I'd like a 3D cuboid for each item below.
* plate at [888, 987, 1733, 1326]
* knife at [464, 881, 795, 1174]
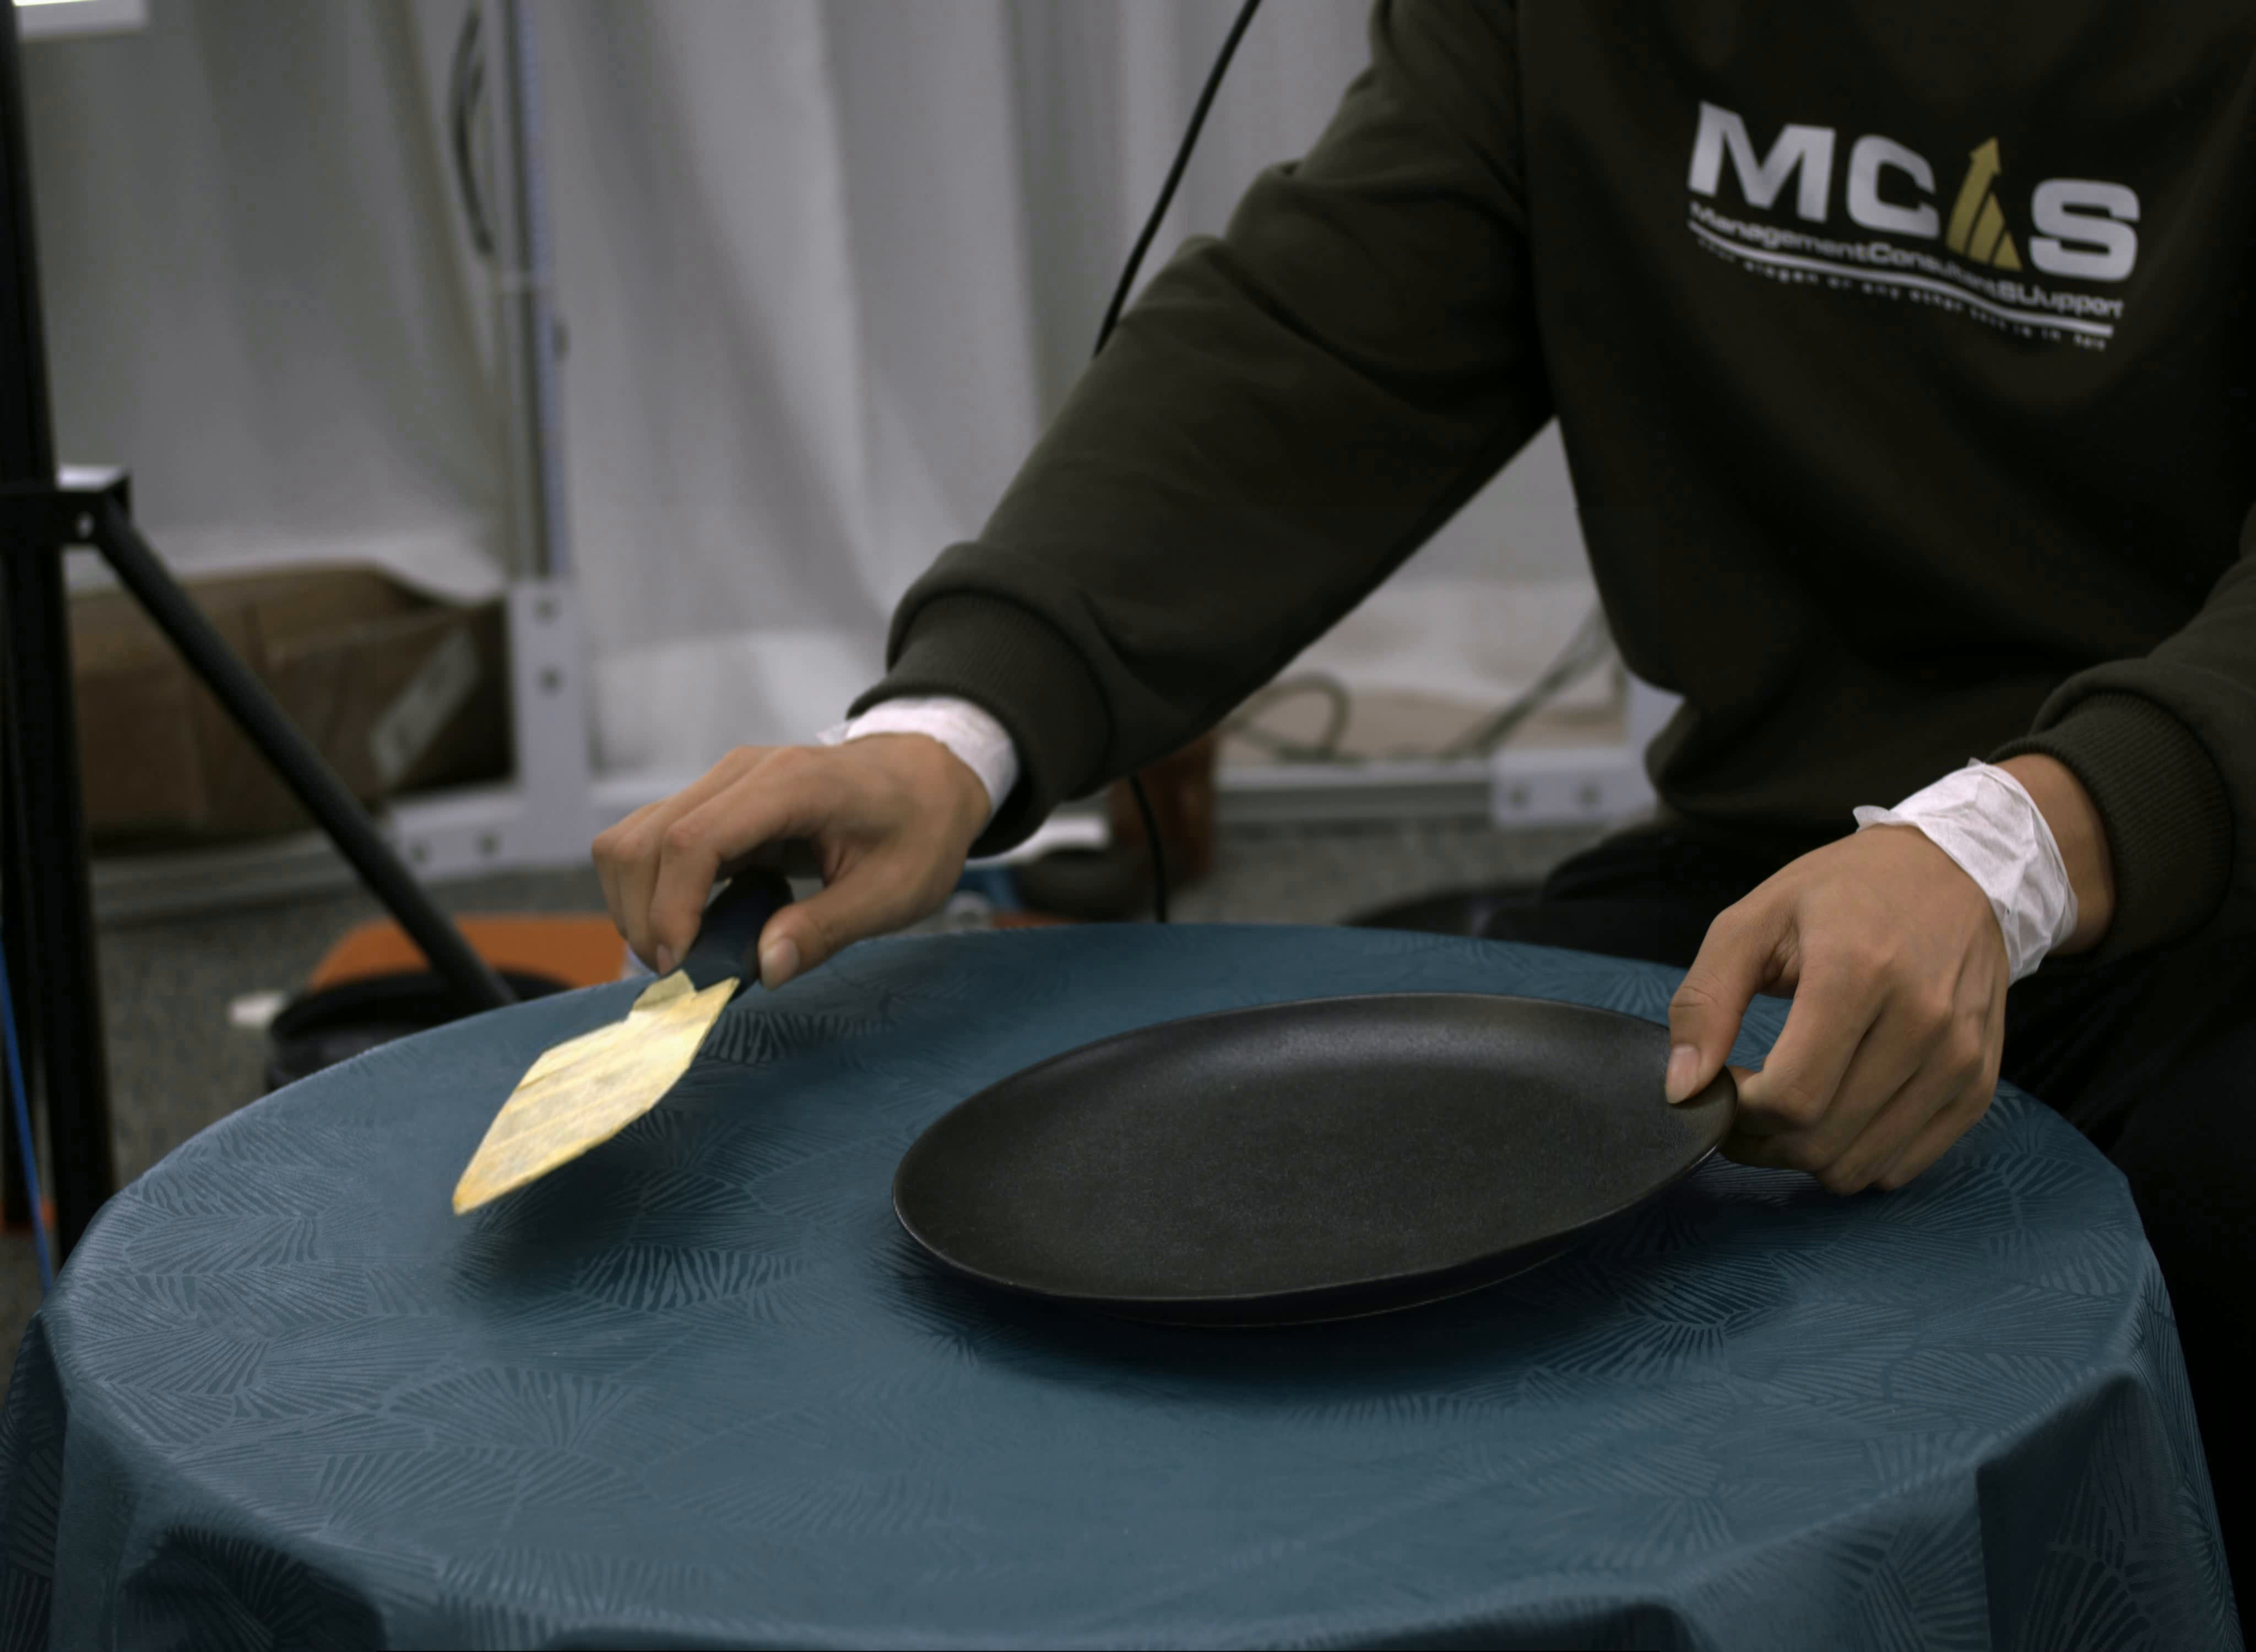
[{"bbox_3d":[0.053,0.097,1.516,0.243,0.023,0.246,-8,17,1],"label":"plate"},{"bbox_3d":[-0.149,0.062,1.634,0.081,0.027,0.288,-20,9,13],"label":"knife"}]
